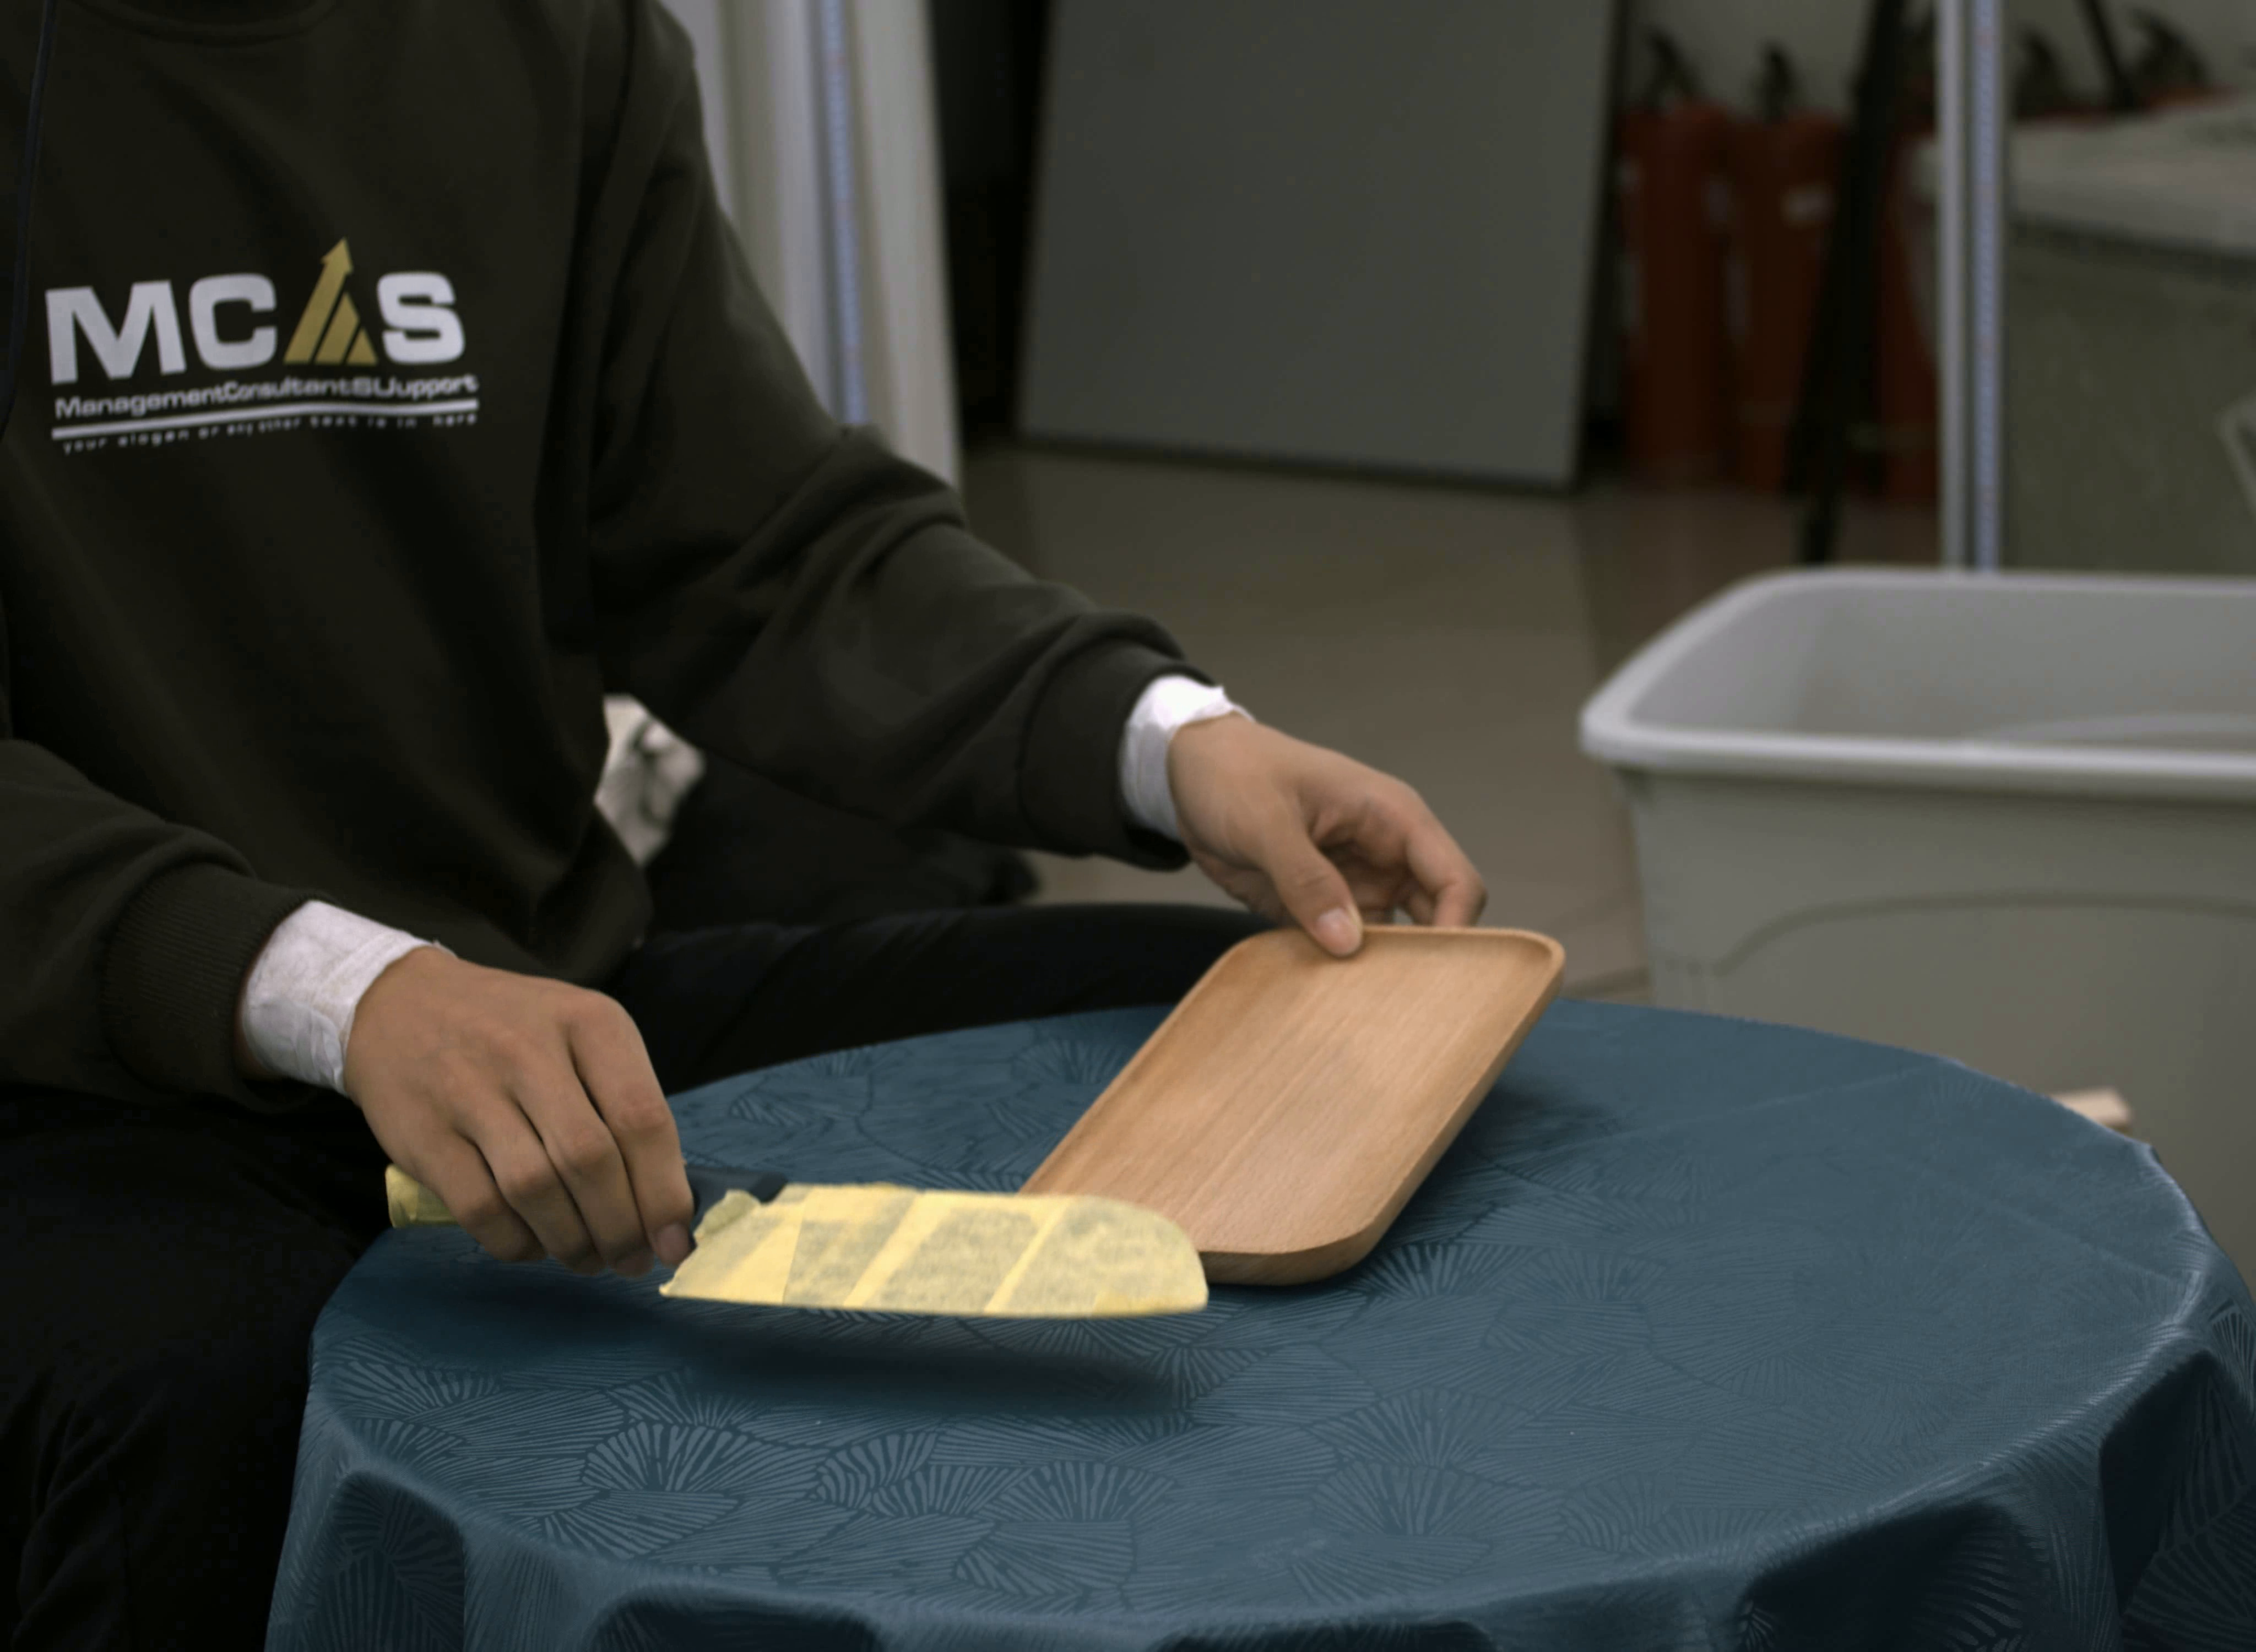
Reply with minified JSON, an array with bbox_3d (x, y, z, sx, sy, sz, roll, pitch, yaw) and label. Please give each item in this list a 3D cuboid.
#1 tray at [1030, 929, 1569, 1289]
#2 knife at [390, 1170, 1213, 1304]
[{"bbox_3d":[0.057,0.090,1.774,0.131,0.023,0.248,-3,22,25],"label":"tray"},{"bbox_3d":[-0.105,0.126,1.641,0.290,0.027,0.080,-1,22,26],"label":"knife"}]
